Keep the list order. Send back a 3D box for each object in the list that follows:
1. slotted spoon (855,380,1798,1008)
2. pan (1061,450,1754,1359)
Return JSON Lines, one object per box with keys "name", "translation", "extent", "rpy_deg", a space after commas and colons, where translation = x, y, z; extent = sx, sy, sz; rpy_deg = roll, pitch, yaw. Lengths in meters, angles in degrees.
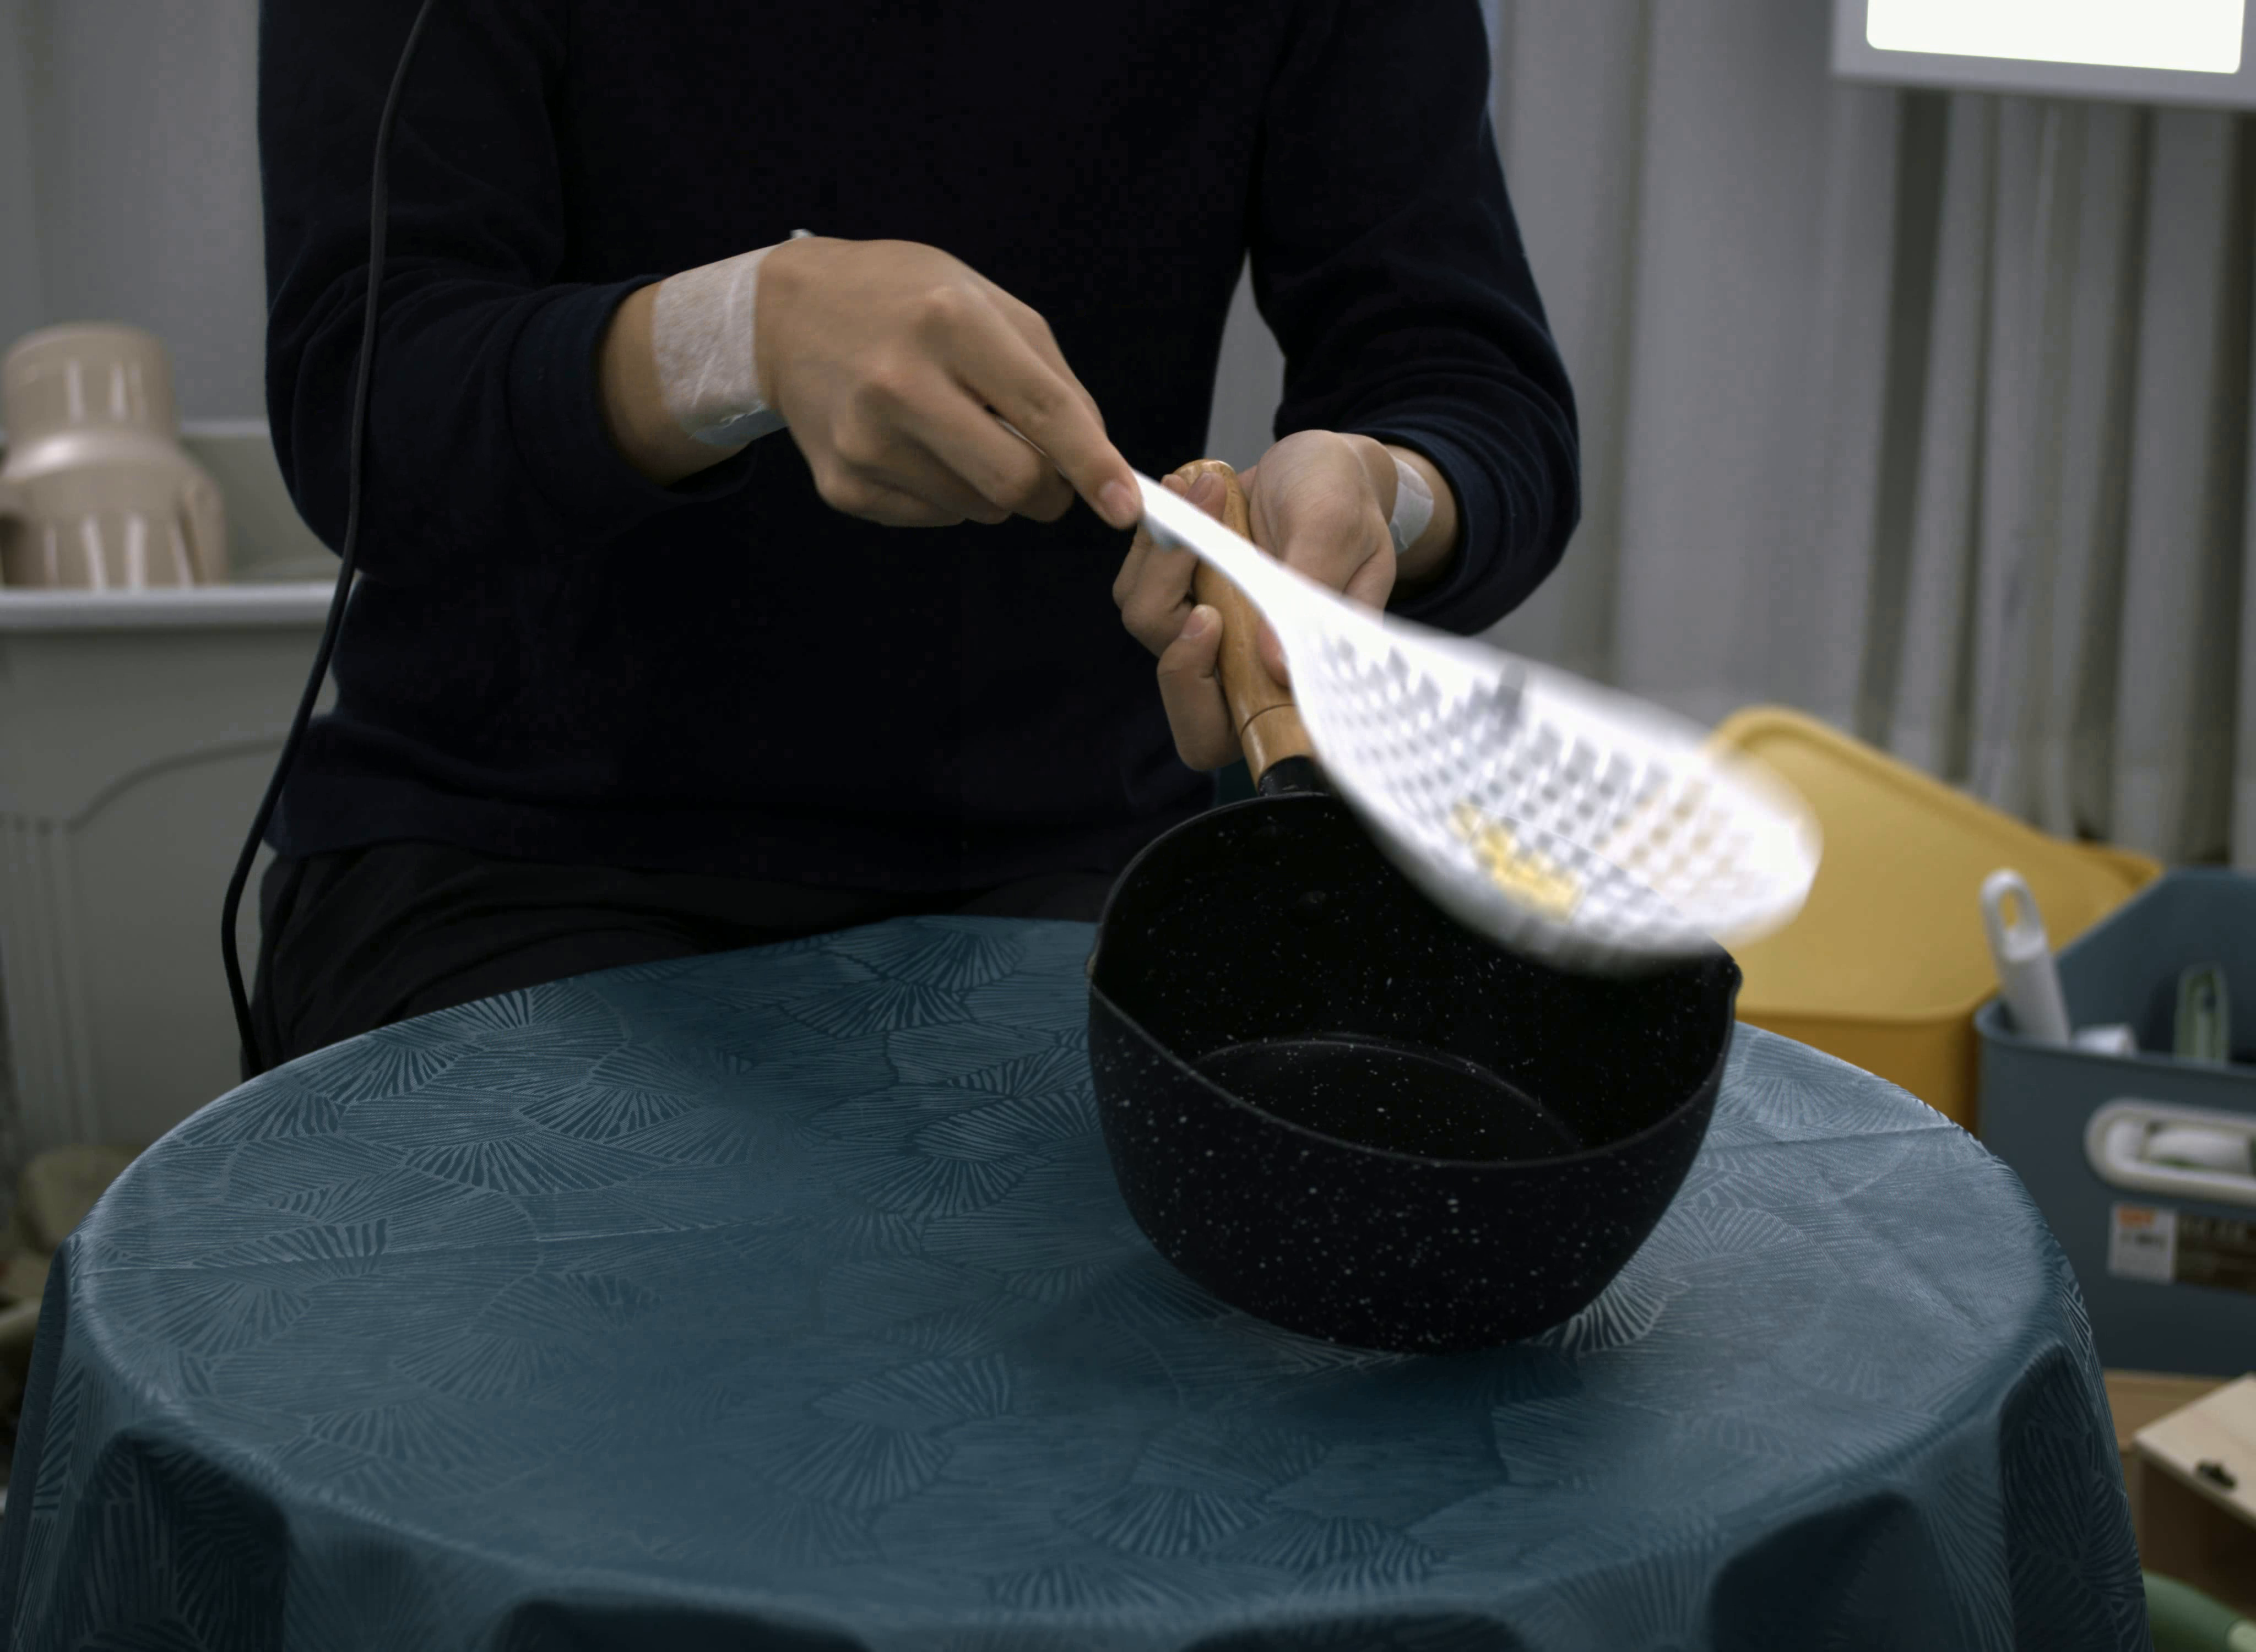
{"name": "slotted spoon", "translation": [0.045, -0.048, 1.518], "extent": [0.137, 0.050, 0.344], "rpy_deg": [-12, 48, -48]}
{"name": "pan", "translation": [0.058, 0.020, 1.579], "extent": [0.208, 0.109, 0.338], "rpy_deg": [-2, 37, -18]}
